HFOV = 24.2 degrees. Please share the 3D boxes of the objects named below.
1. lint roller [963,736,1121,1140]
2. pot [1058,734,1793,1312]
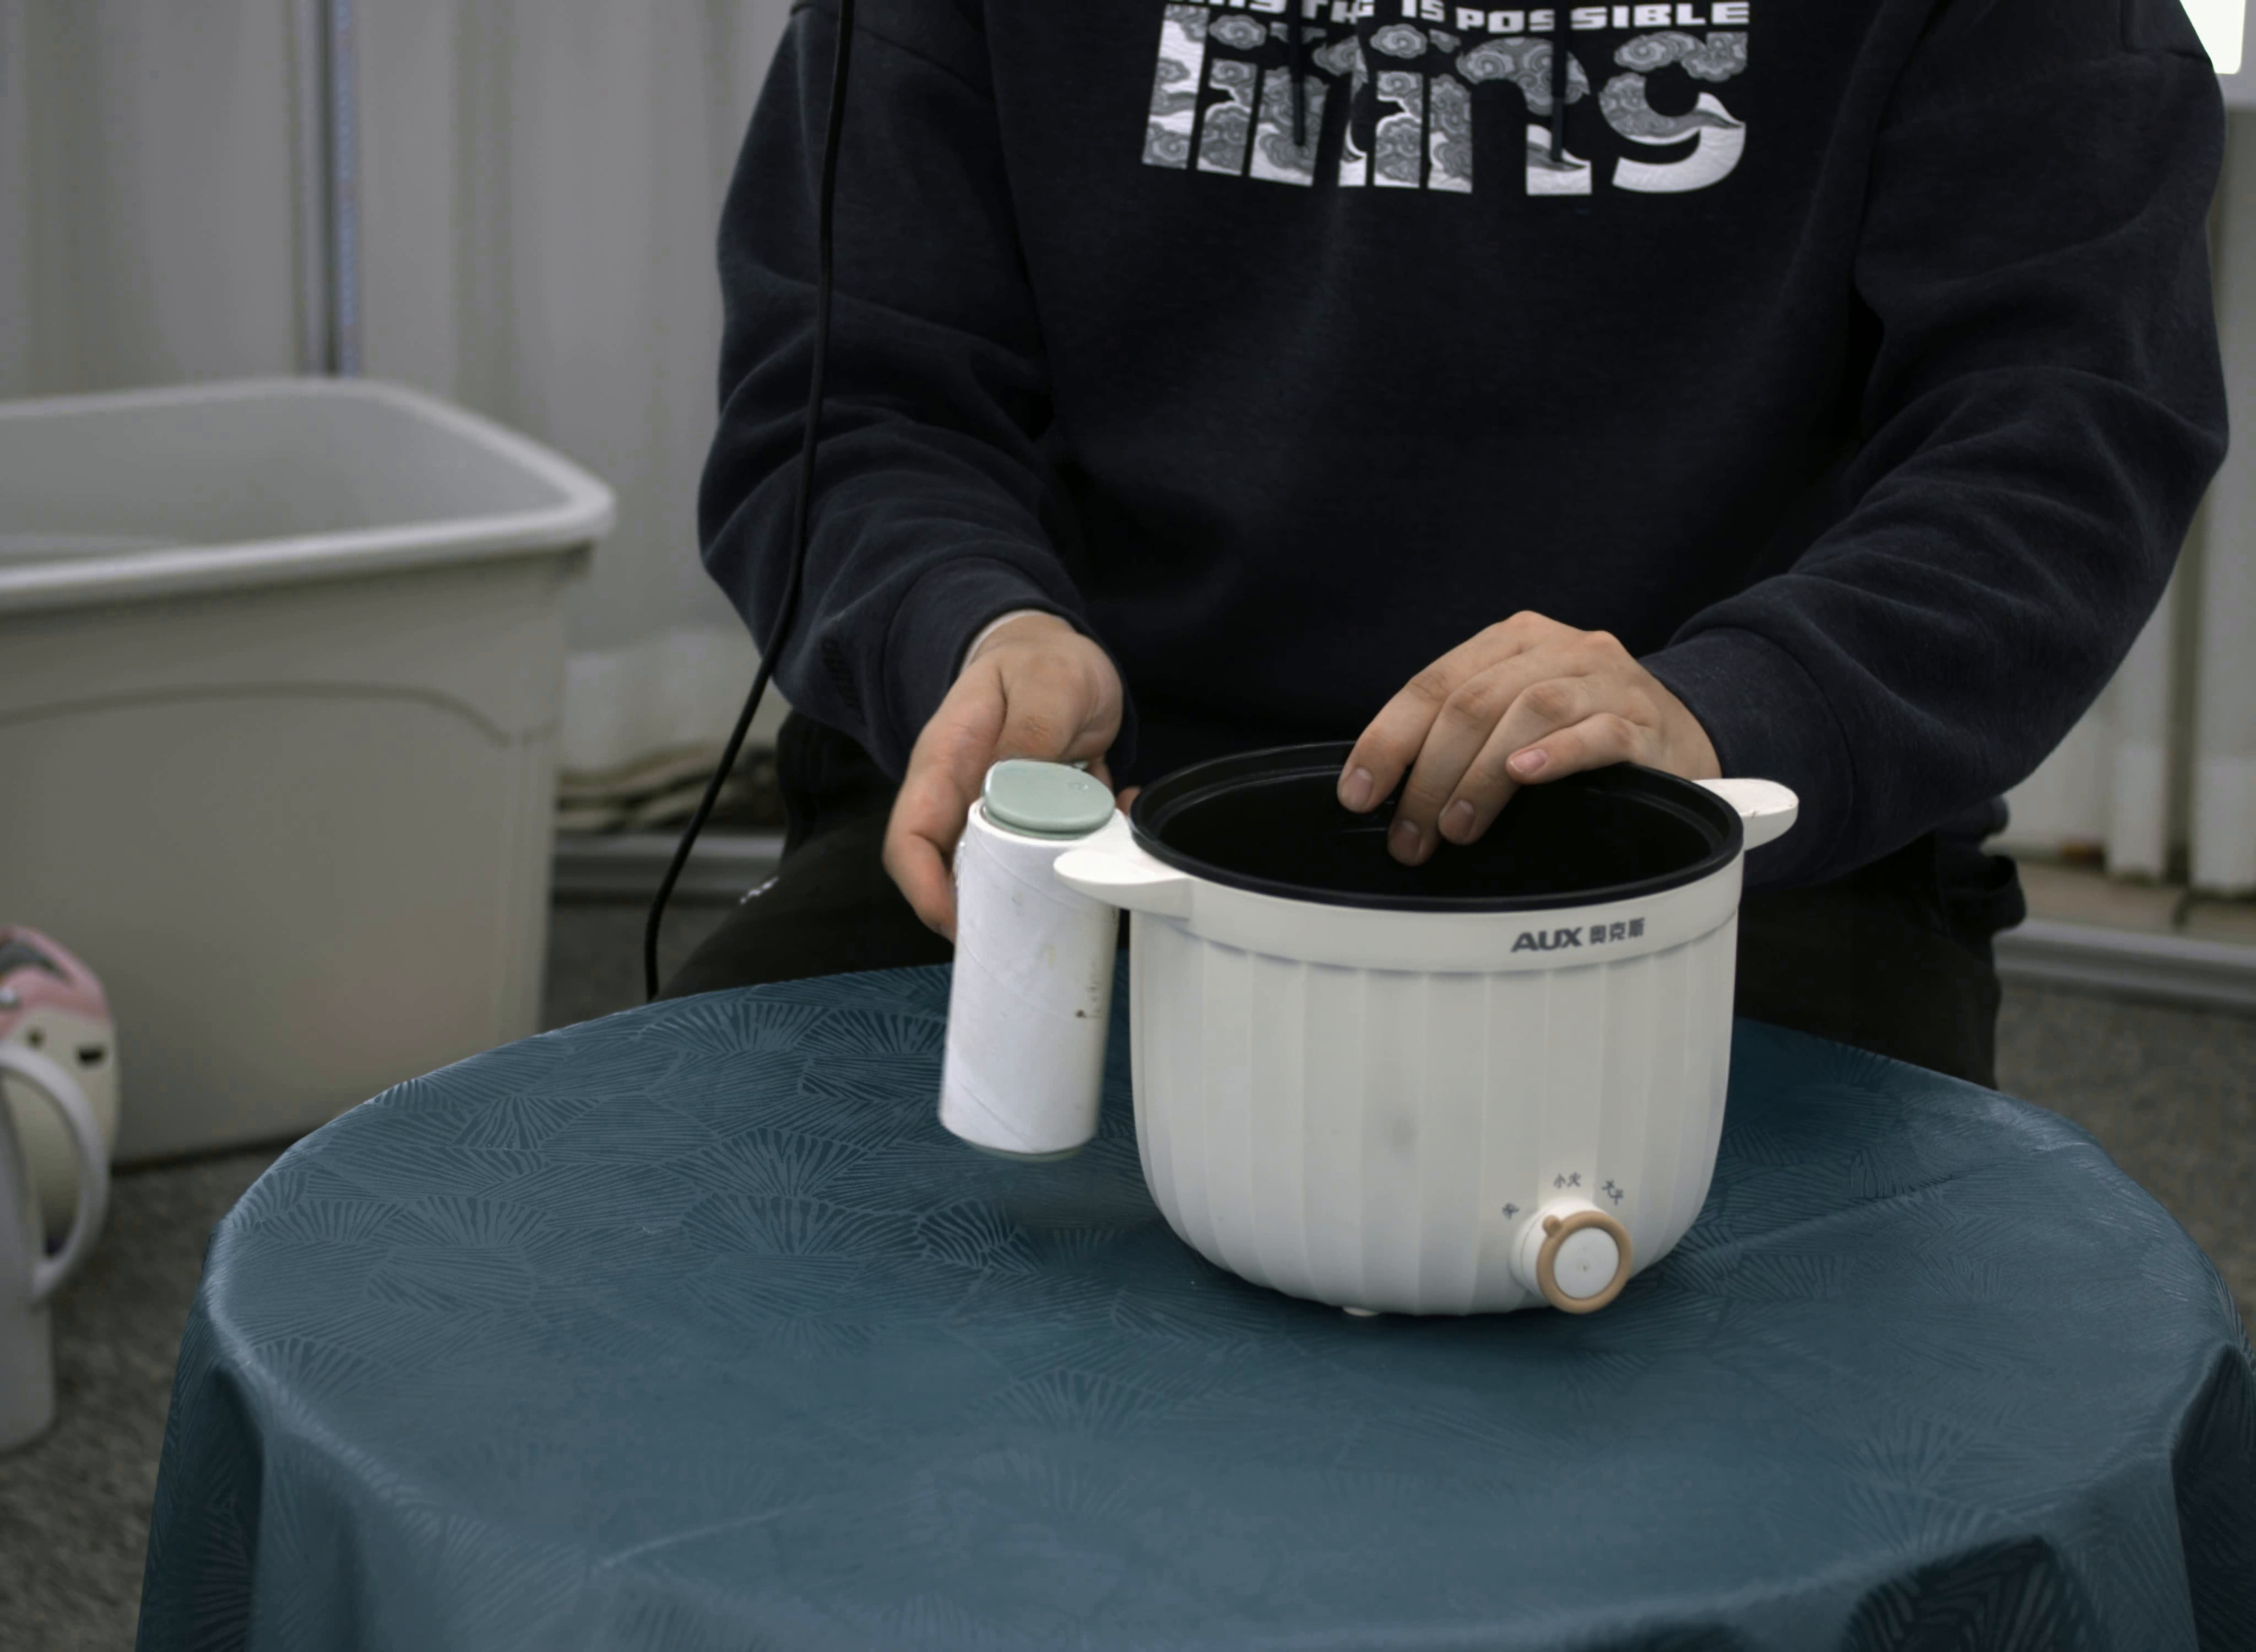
[{"bbox_3d":[-0.026,0.010,1.633,0.048,0.118,0.196,0,21,-1],"label":"lint roller"},{"bbox_3d":[0.093,0.061,1.556,0.241,0.144,0.188,-8,15,-24],"label":"pot"}]
